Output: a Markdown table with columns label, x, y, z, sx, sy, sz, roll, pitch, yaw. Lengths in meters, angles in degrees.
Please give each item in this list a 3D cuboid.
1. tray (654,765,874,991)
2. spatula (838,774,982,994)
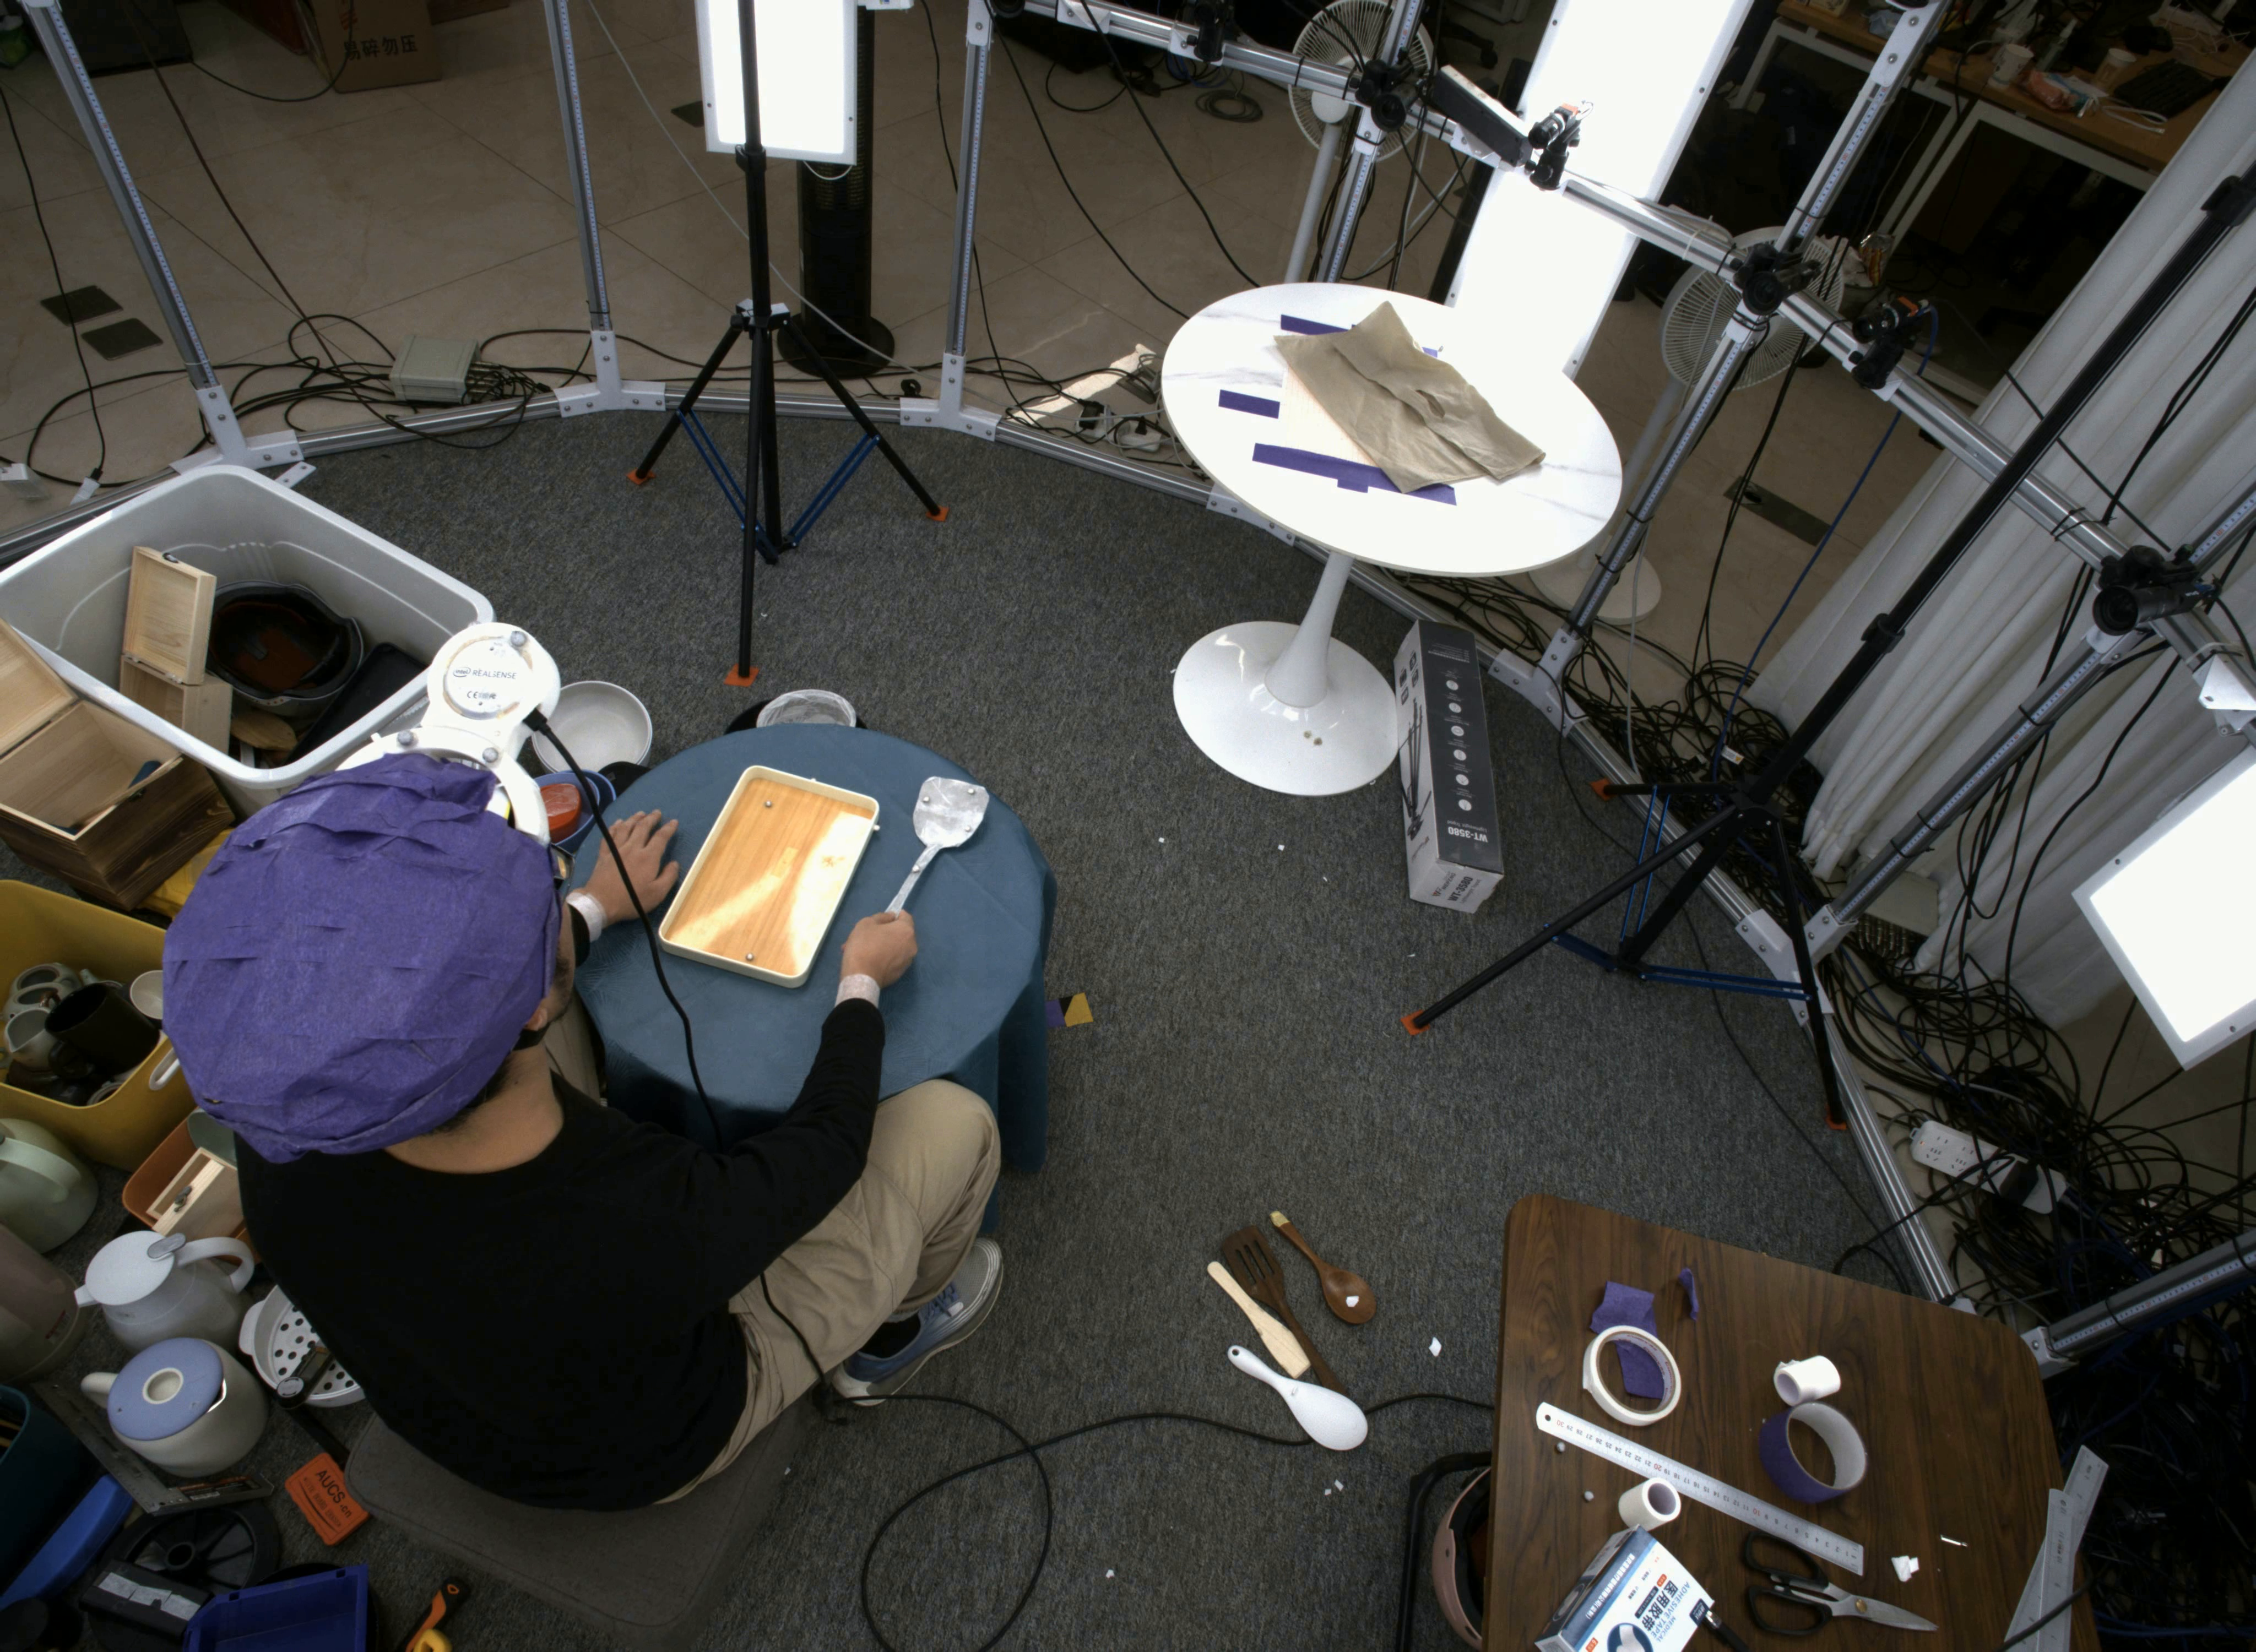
| label | x | y | z | sx | sy | sz | roll | pitch | yaw |
| --- | --- | --- | --- | --- | --- | --- | --- | --- | --- |
| tray | -0.458 | 0.058 | 1.649 | 0.190 | 0.028 | 0.296 | 17 | 52 | -2 |
| spatula | -0.288 | 0.067 | 1.666 | 0.097 | 0.046 | 0.361 | 14 | 45 | 8 |
